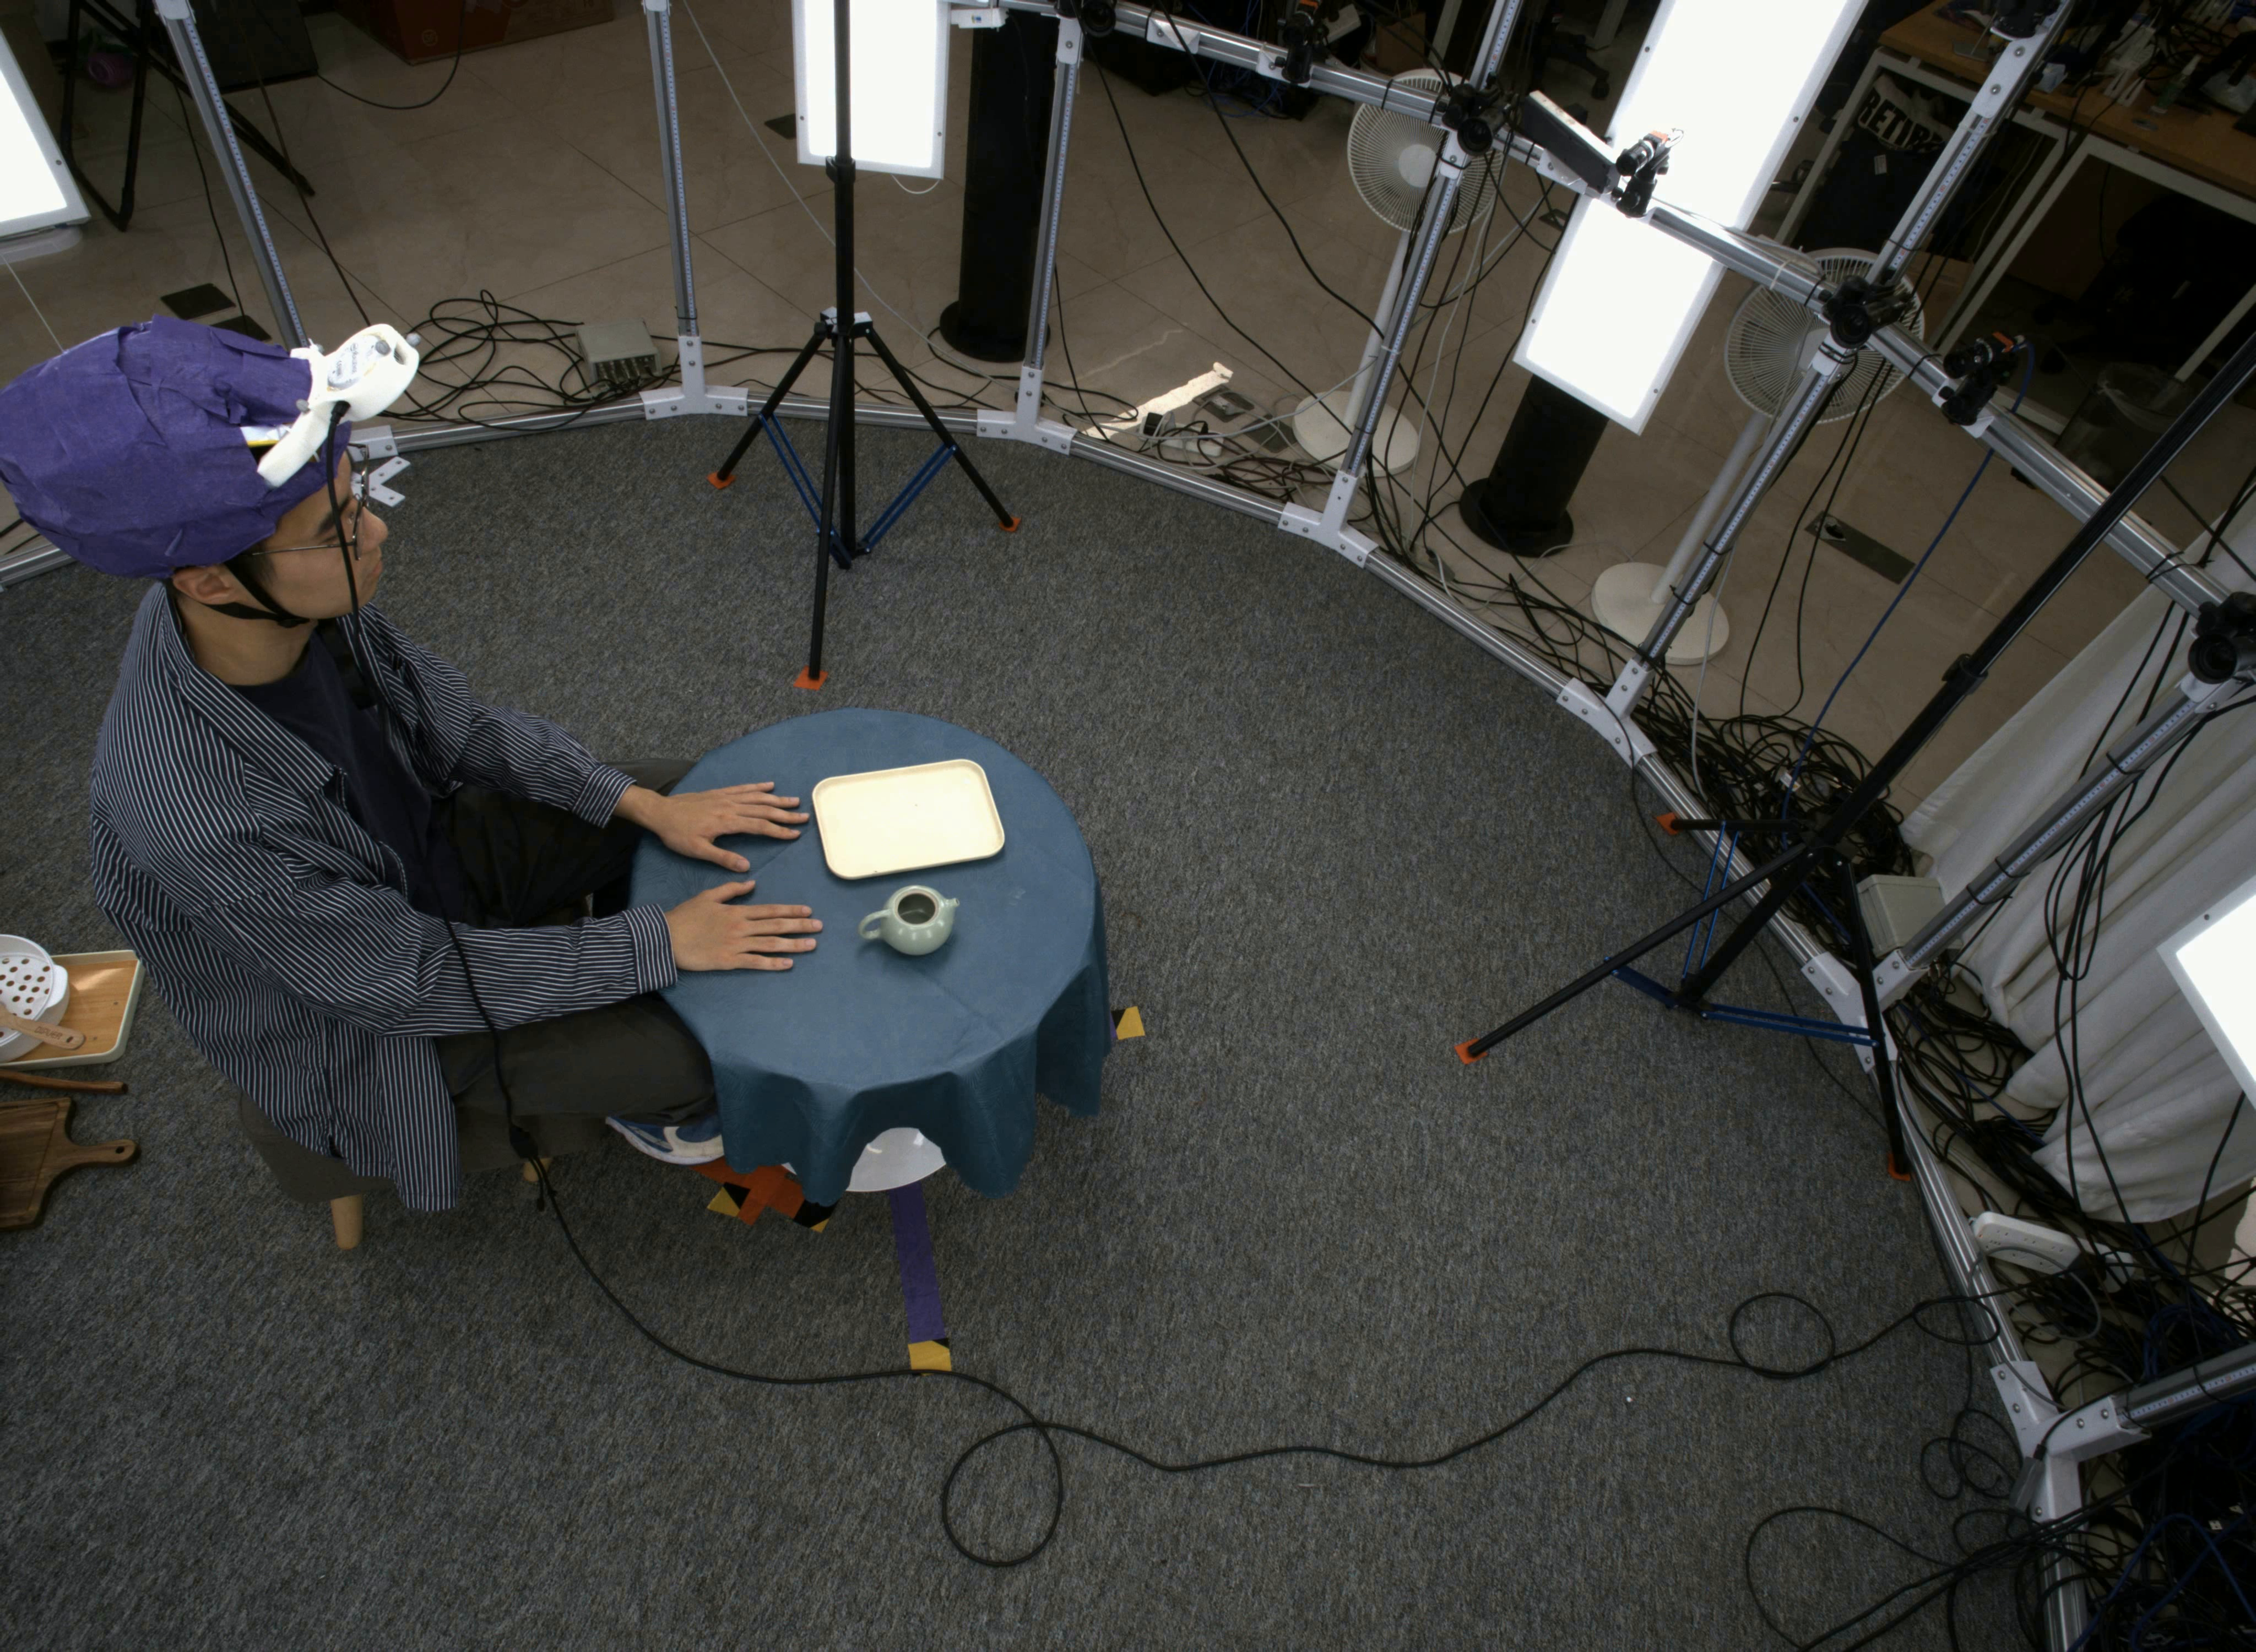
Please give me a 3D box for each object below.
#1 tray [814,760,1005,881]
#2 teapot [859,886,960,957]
[{"bbox_3d":[-0.297,-0.009,1.767,0.240,0.018,0.167,-9,56,-19],"label":"tray"},{"bbox_3d":[-0.277,0.121,1.649,0.129,0.062,0.089,-5,57,-16],"label":"teapot"}]
